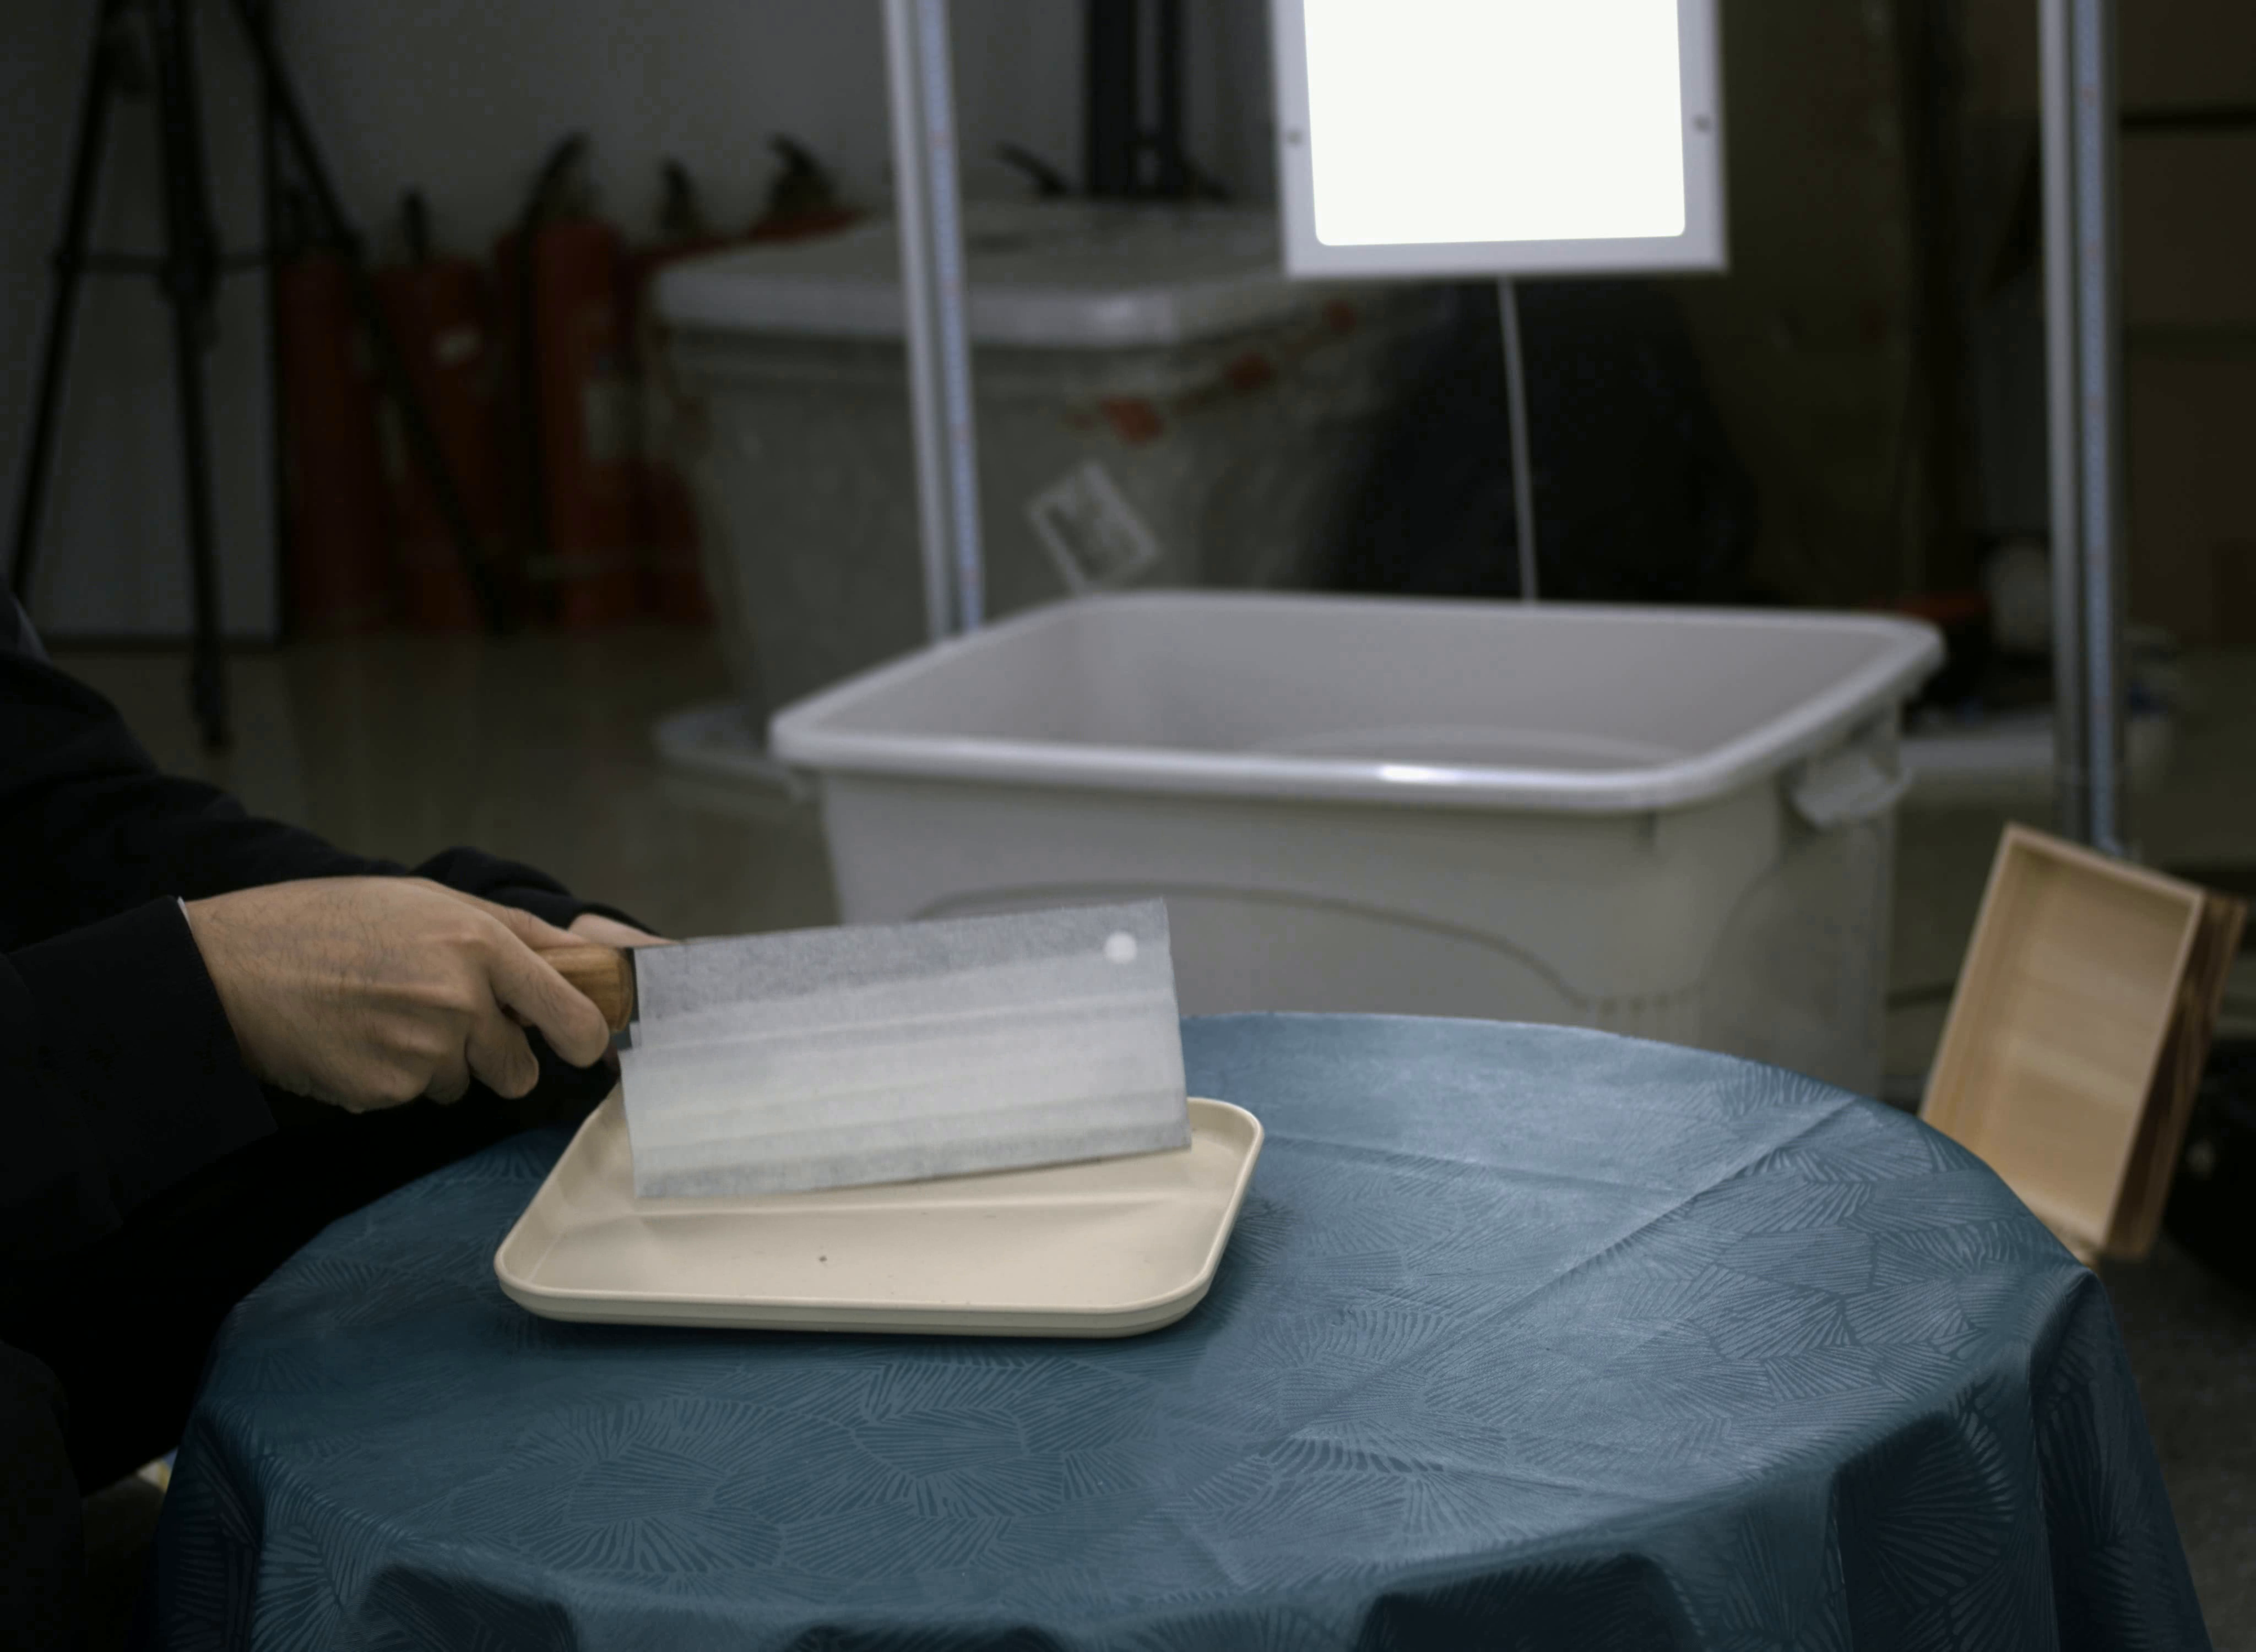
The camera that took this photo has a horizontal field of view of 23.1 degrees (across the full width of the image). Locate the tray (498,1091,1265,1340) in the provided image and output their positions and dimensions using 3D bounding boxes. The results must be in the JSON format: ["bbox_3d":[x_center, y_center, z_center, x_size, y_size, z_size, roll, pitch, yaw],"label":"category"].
[{"bbox_3d":[-0.079,0.129,1.836,0.241,0.017,0.169,0,22,13],"label":"tray"}]

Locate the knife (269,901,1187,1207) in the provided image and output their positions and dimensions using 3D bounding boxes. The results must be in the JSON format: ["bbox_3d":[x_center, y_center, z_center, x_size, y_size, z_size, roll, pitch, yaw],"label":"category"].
[{"bbox_3d":[-0.133,0.081,1.845,0.306,0.093,0.021,-5,14,7],"label":"knife"}]
